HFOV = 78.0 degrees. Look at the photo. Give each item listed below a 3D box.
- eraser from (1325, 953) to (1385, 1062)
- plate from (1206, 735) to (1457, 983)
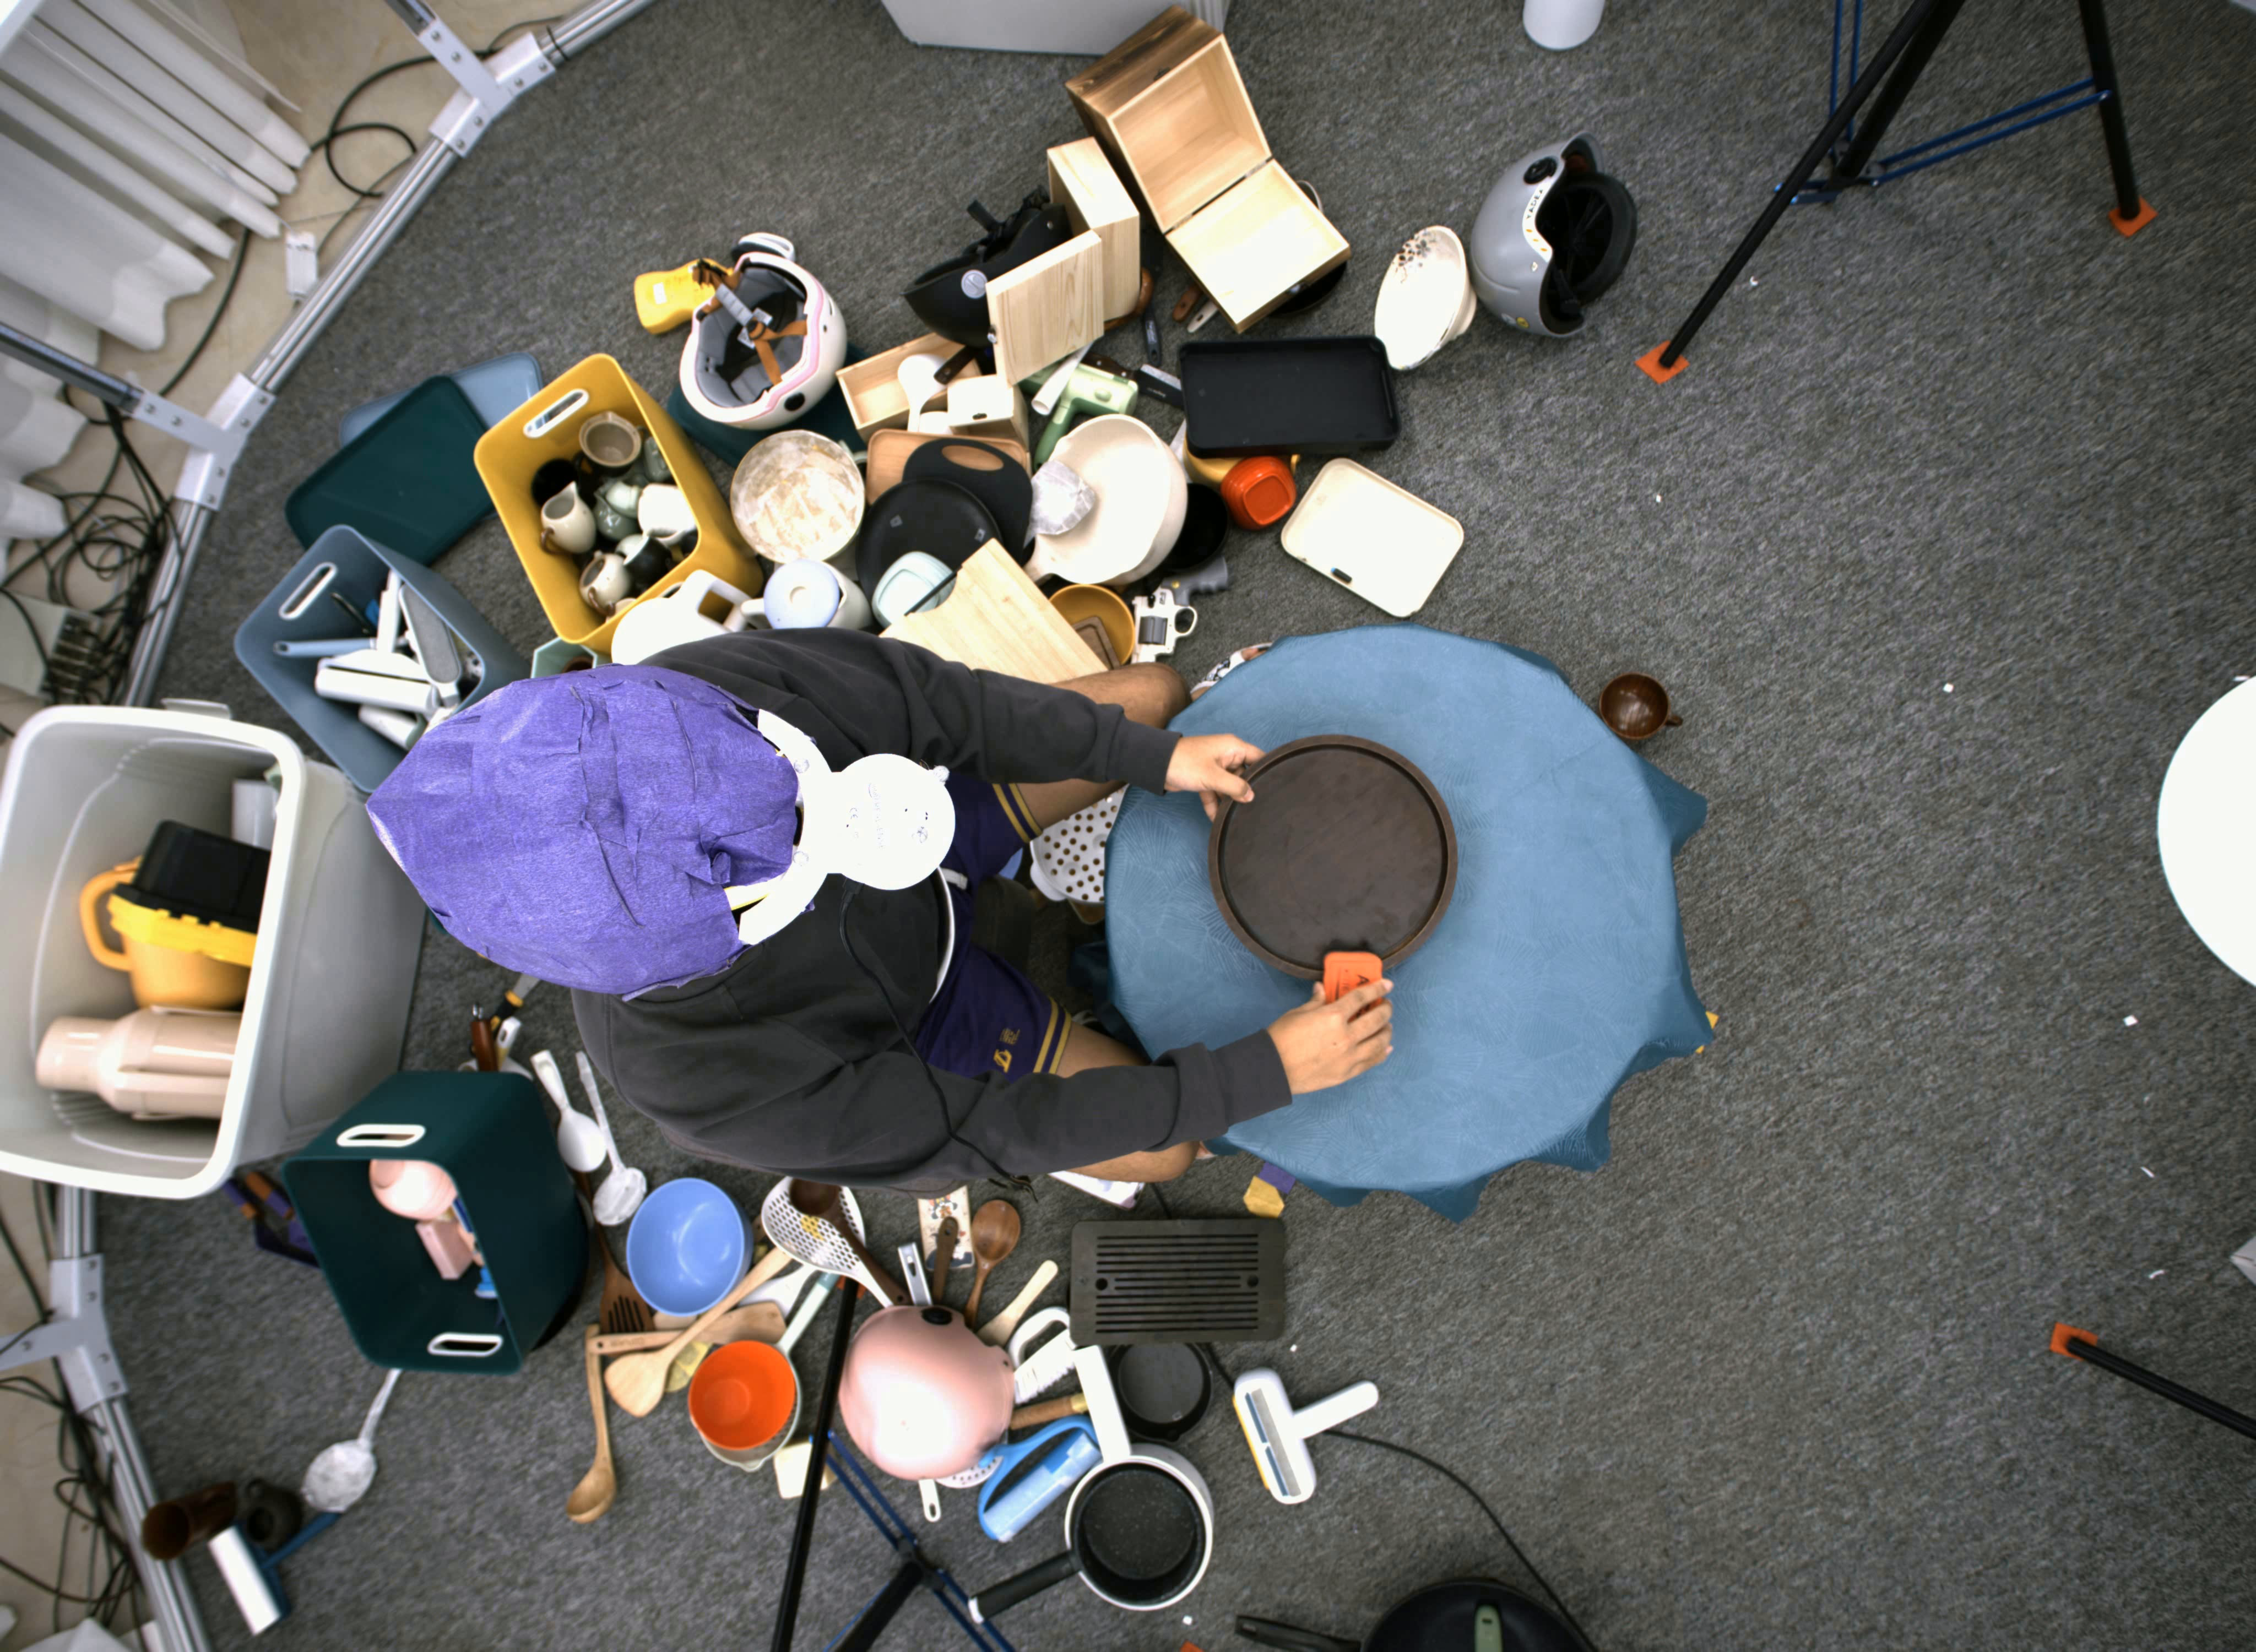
[{"bbox_3d":[0.229,0.182,1.398,0.059,0.022,0.109,1,100,7],"label":"eraser"},{"bbox_3d":[0.206,0.033,1.409,0.255,0.029,0.256,1,98,7],"label":"plate"}]
